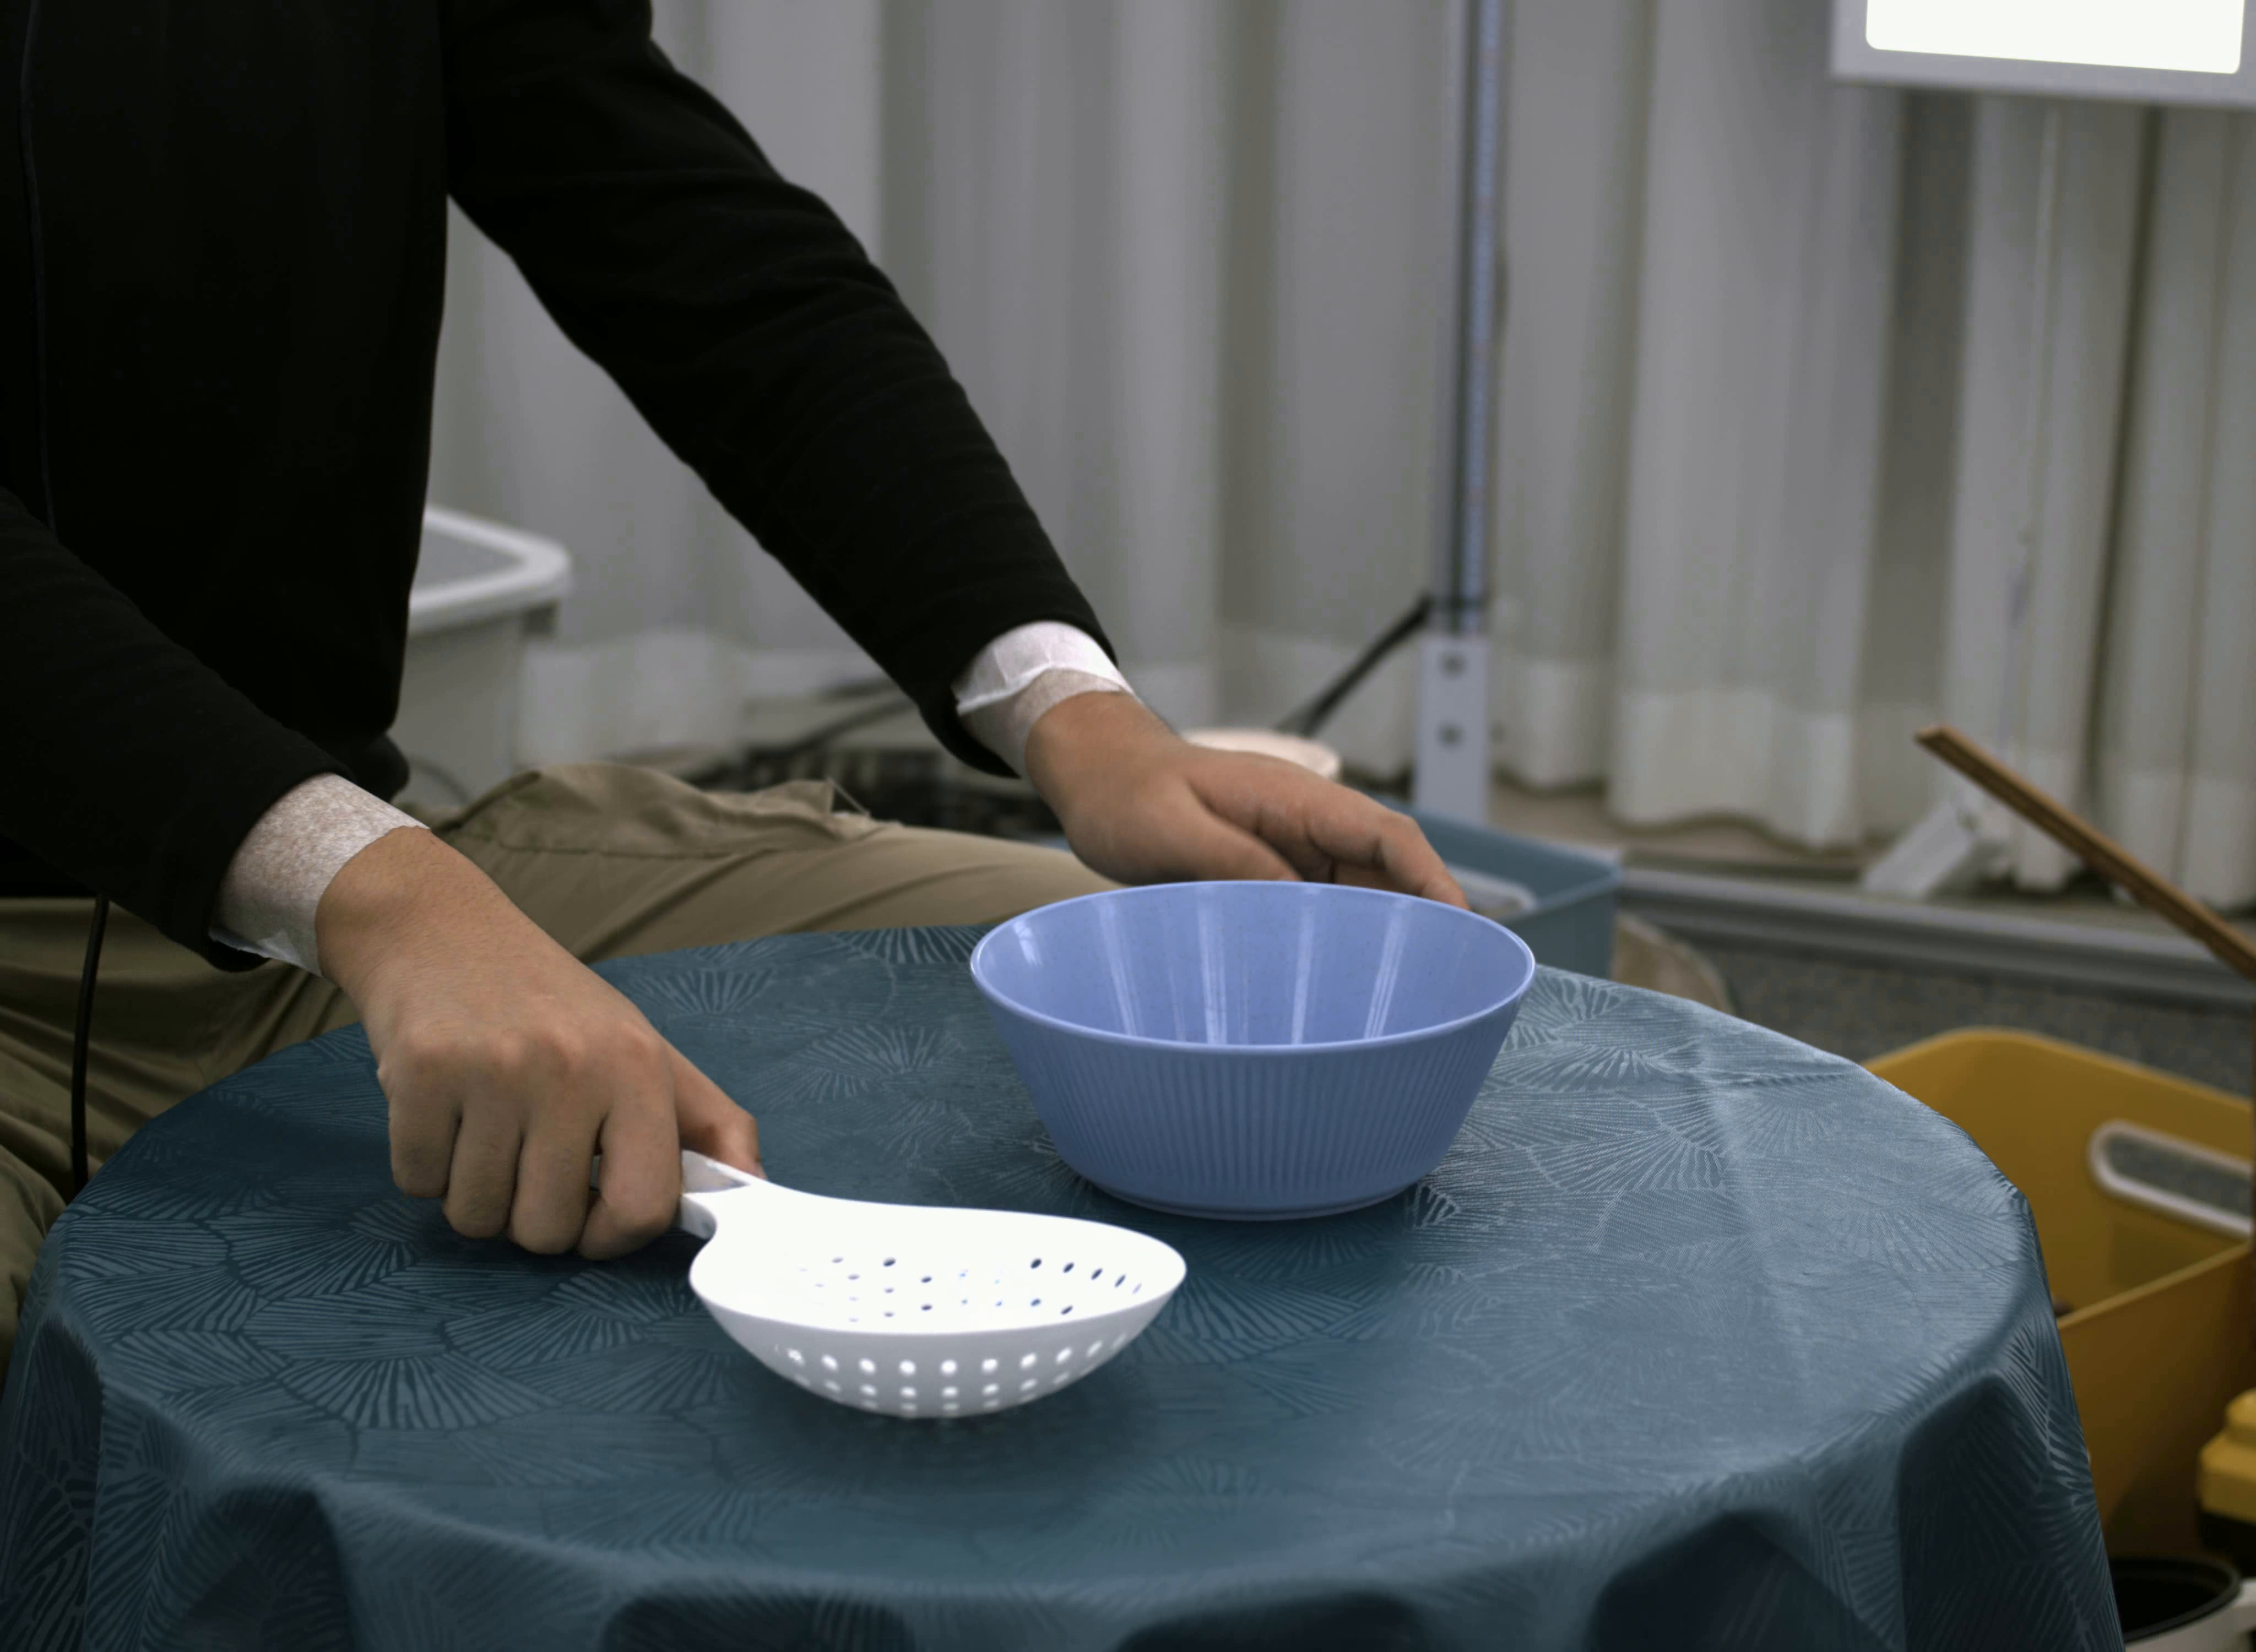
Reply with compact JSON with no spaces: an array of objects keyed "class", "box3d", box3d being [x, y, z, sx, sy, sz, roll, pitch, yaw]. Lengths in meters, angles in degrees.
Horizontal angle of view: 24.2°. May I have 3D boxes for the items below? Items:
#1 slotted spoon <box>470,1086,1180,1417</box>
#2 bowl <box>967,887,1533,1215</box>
[{"class":"slotted spoon","box3d":[-0.109,0.113,1.528,0.136,0.046,0.345,-8,16,-31]},{"class":"bowl","box3d":[0.038,0.072,1.637,0.175,0.071,0.175,0,15,1]}]
